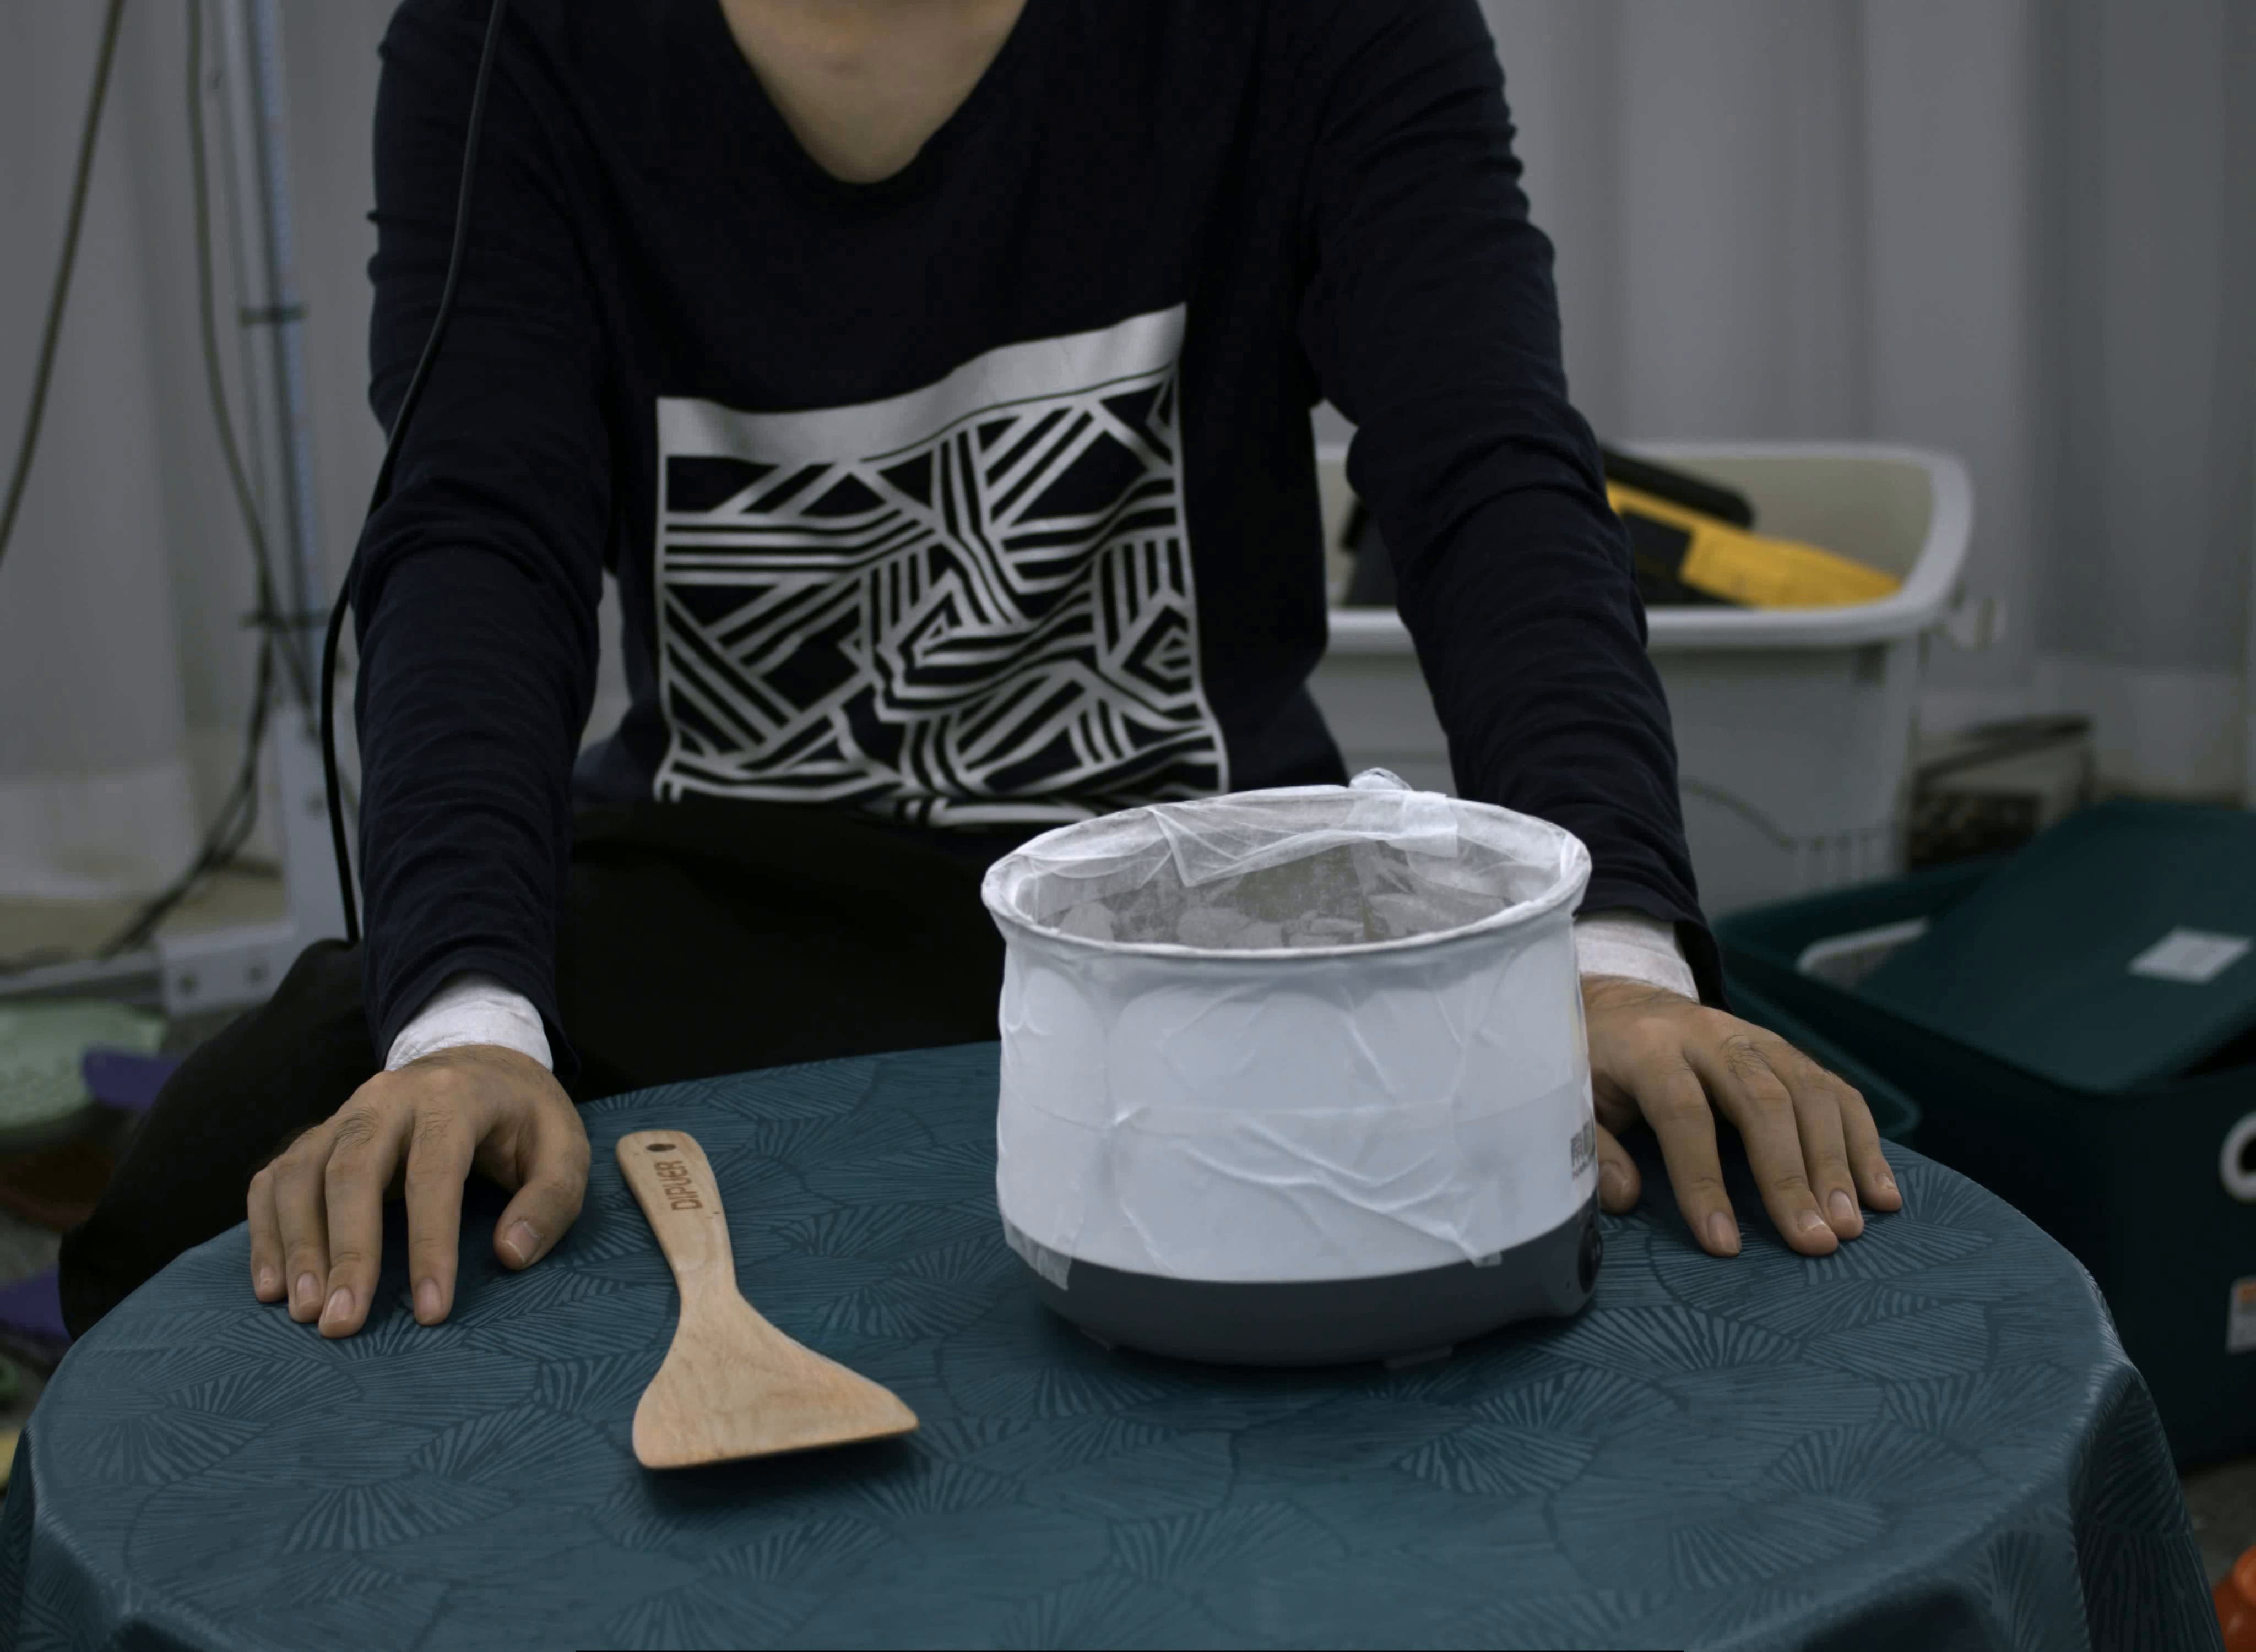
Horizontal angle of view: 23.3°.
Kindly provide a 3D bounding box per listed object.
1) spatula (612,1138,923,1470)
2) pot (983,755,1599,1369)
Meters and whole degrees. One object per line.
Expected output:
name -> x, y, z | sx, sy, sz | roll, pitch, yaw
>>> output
spatula -> -0.122, 0.138, 1.624 | 0.079, 0.016, 0.330 | -5, 14, -11
pot -> 0.056, 0.064, 1.624 | 0.178, 0.136, 0.235 | 2, 16, 16
